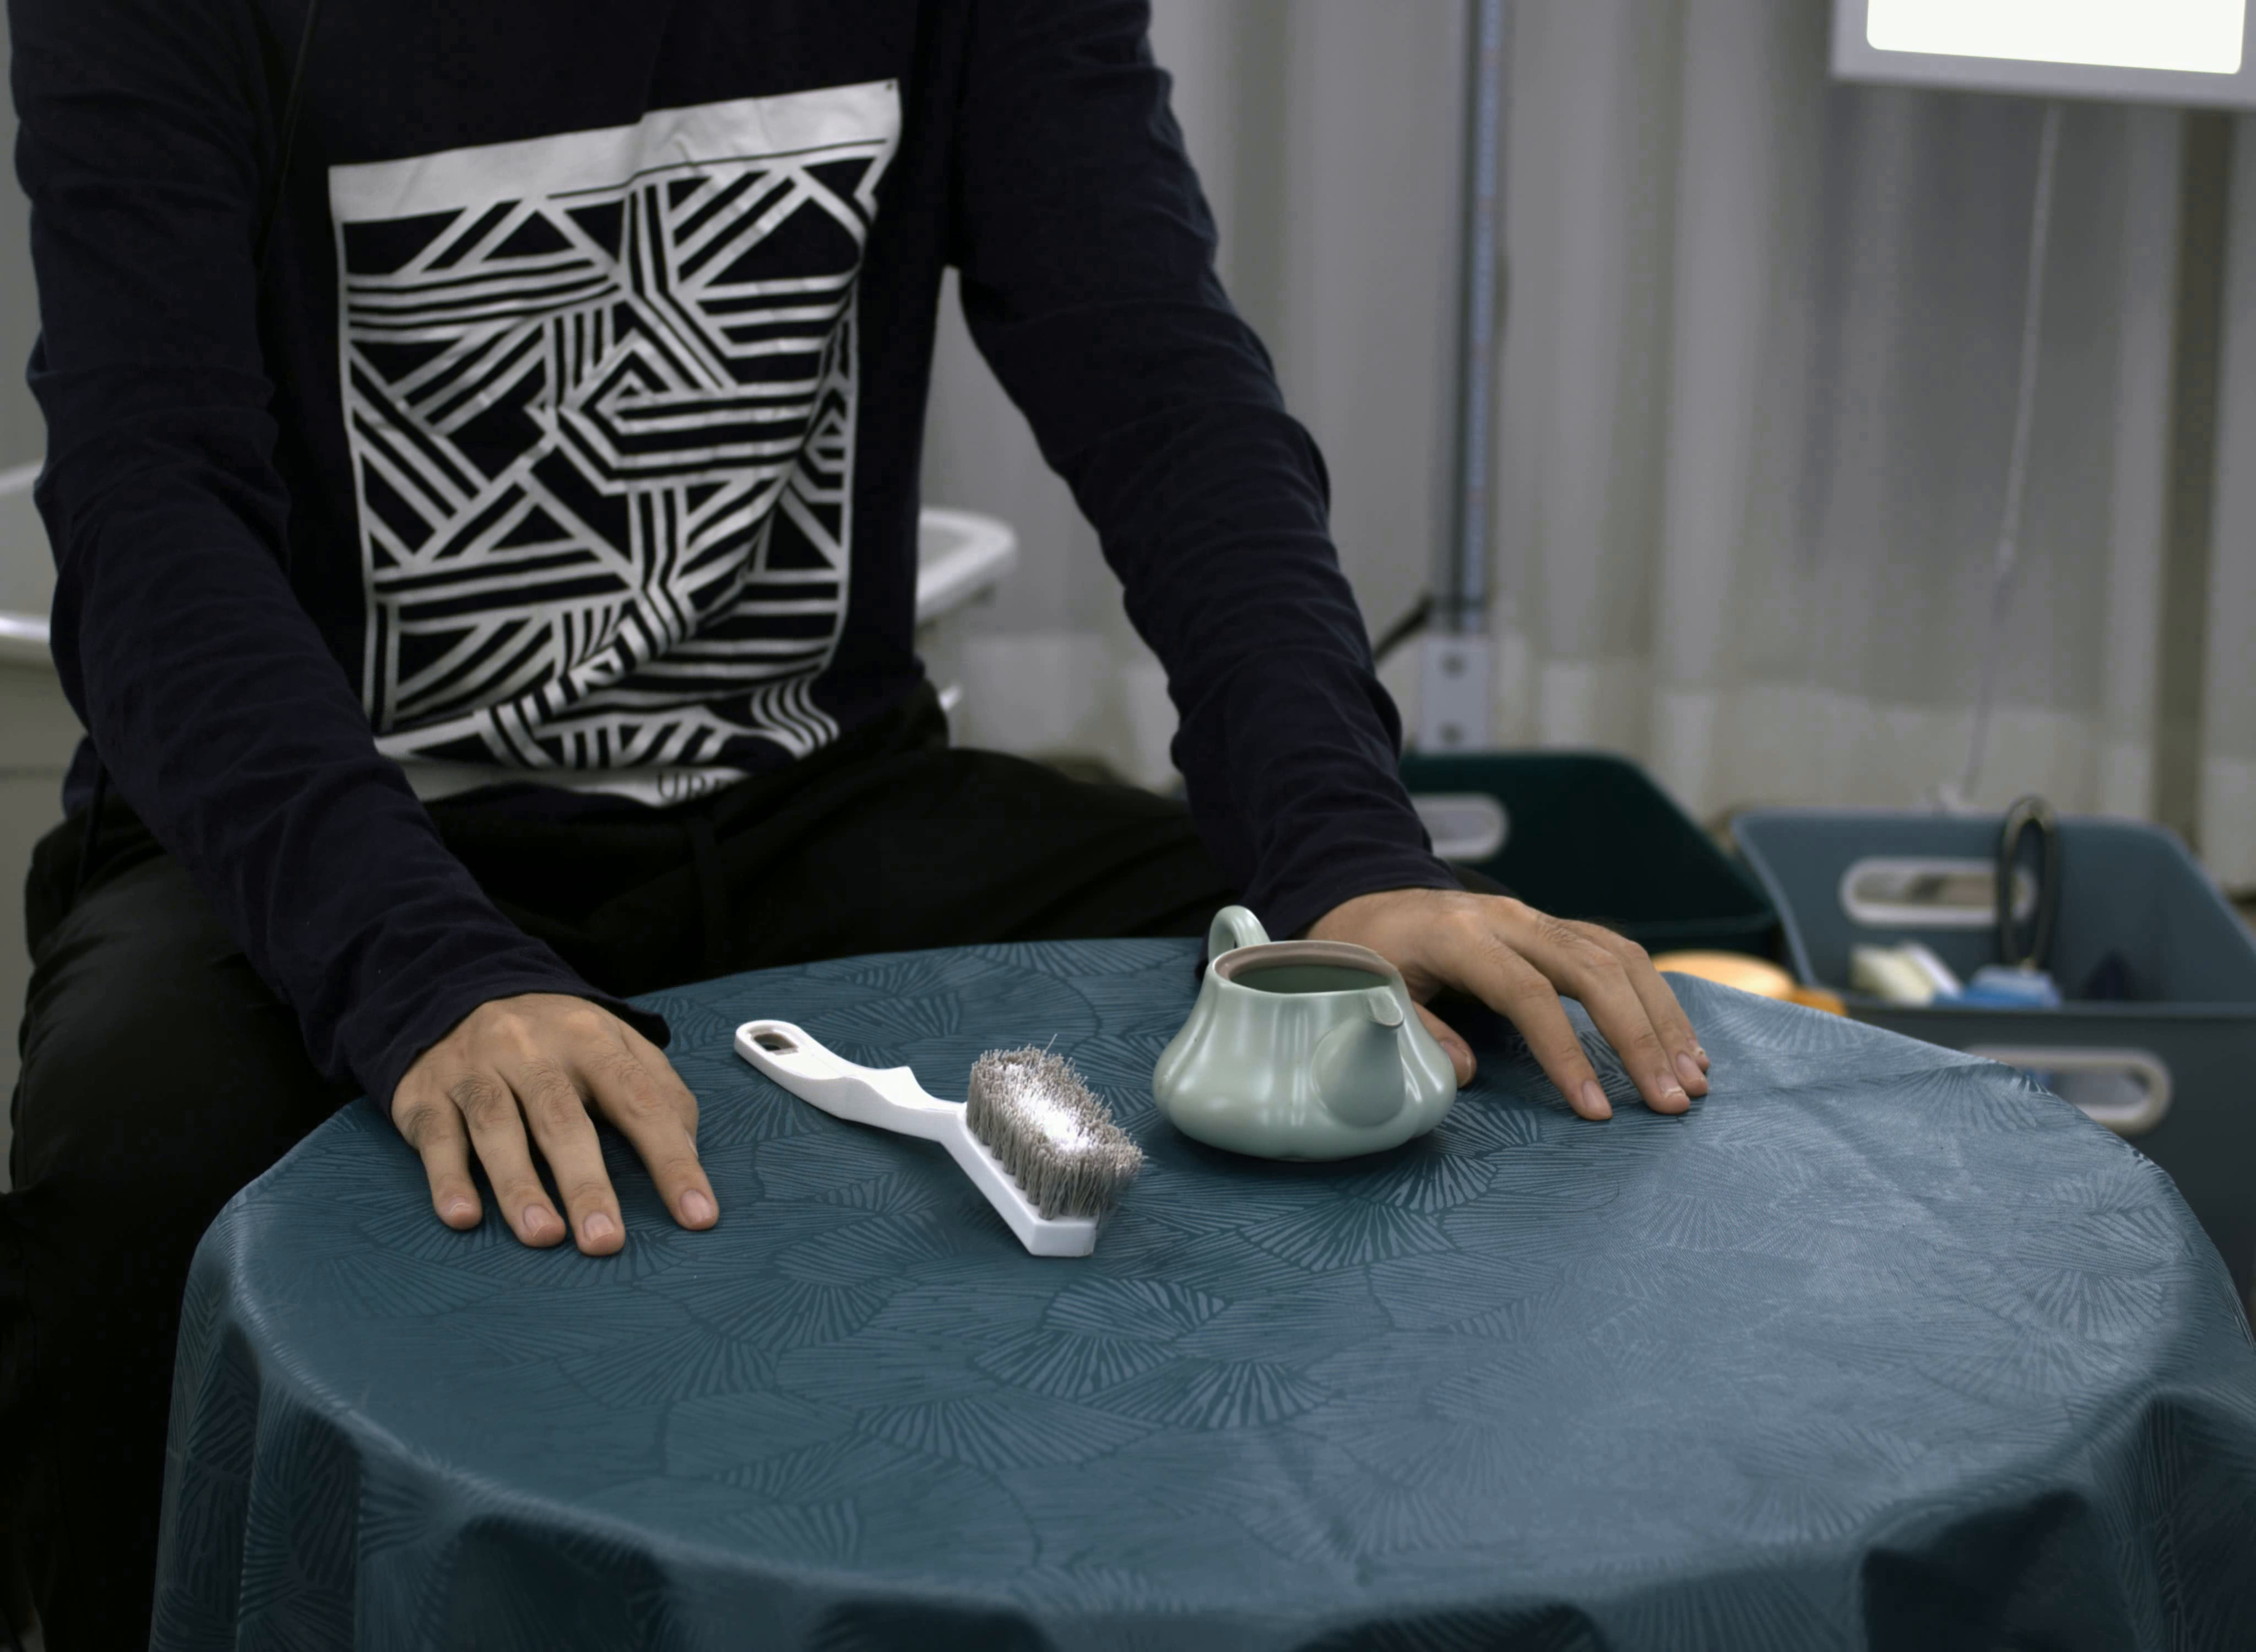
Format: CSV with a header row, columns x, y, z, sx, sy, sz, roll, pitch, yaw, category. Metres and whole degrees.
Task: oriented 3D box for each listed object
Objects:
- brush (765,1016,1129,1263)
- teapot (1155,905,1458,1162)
x,y,z,sx,sy,sz,roll,pitch,yaw,category
-0.063,0.079,1.656,0.034,0.051,0.240,-12,20,-23,brush
0.054,0.068,1.674,0.096,0.062,0.135,-10,19,-24,teapot
